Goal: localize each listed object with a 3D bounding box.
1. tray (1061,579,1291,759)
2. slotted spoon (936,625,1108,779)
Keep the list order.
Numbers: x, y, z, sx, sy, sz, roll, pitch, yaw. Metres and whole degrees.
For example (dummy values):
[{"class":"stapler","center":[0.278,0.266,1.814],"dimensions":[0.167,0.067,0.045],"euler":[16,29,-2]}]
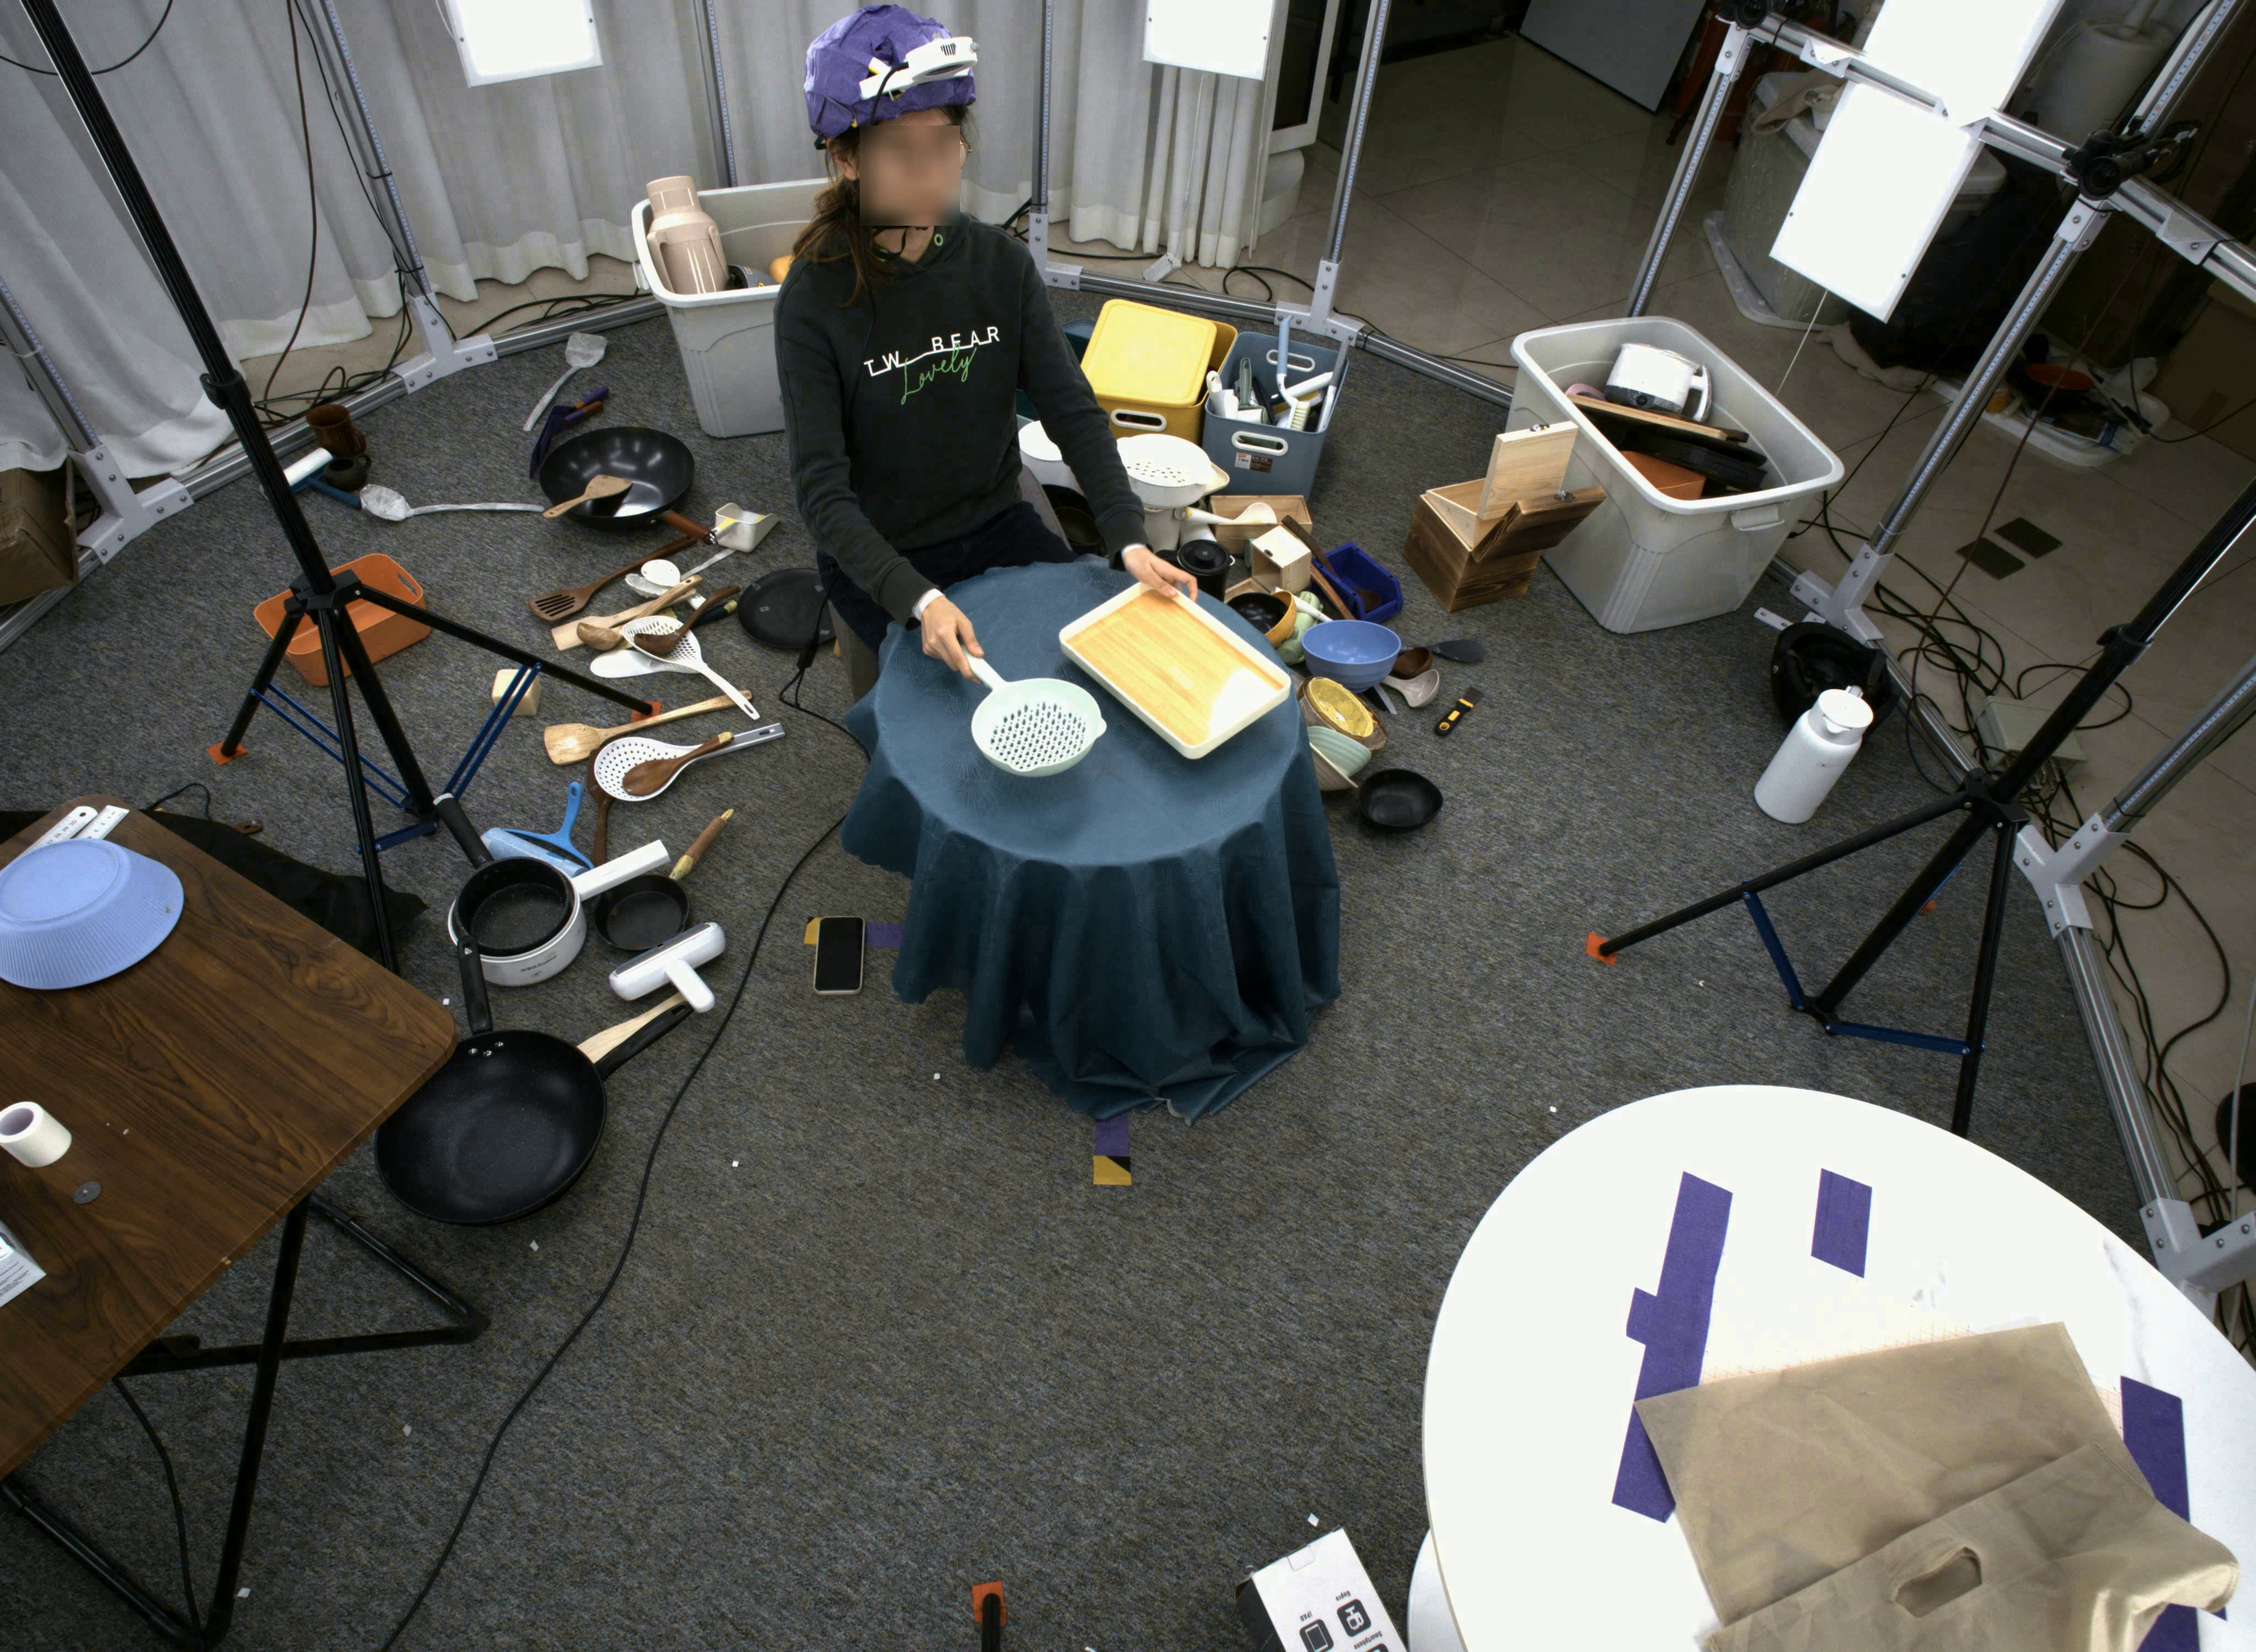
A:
[{"class":"tray","center":[0.065,-0.228,1.814],"dimensions":[0.193,0.027,0.306],"euler":[-34,56,-21]},{"class":"slotted spoon","center":[-0.173,-0.185,1.750],"dimensions":[0.170,0.073,0.366],"euler":[-27,58,-21]}]
